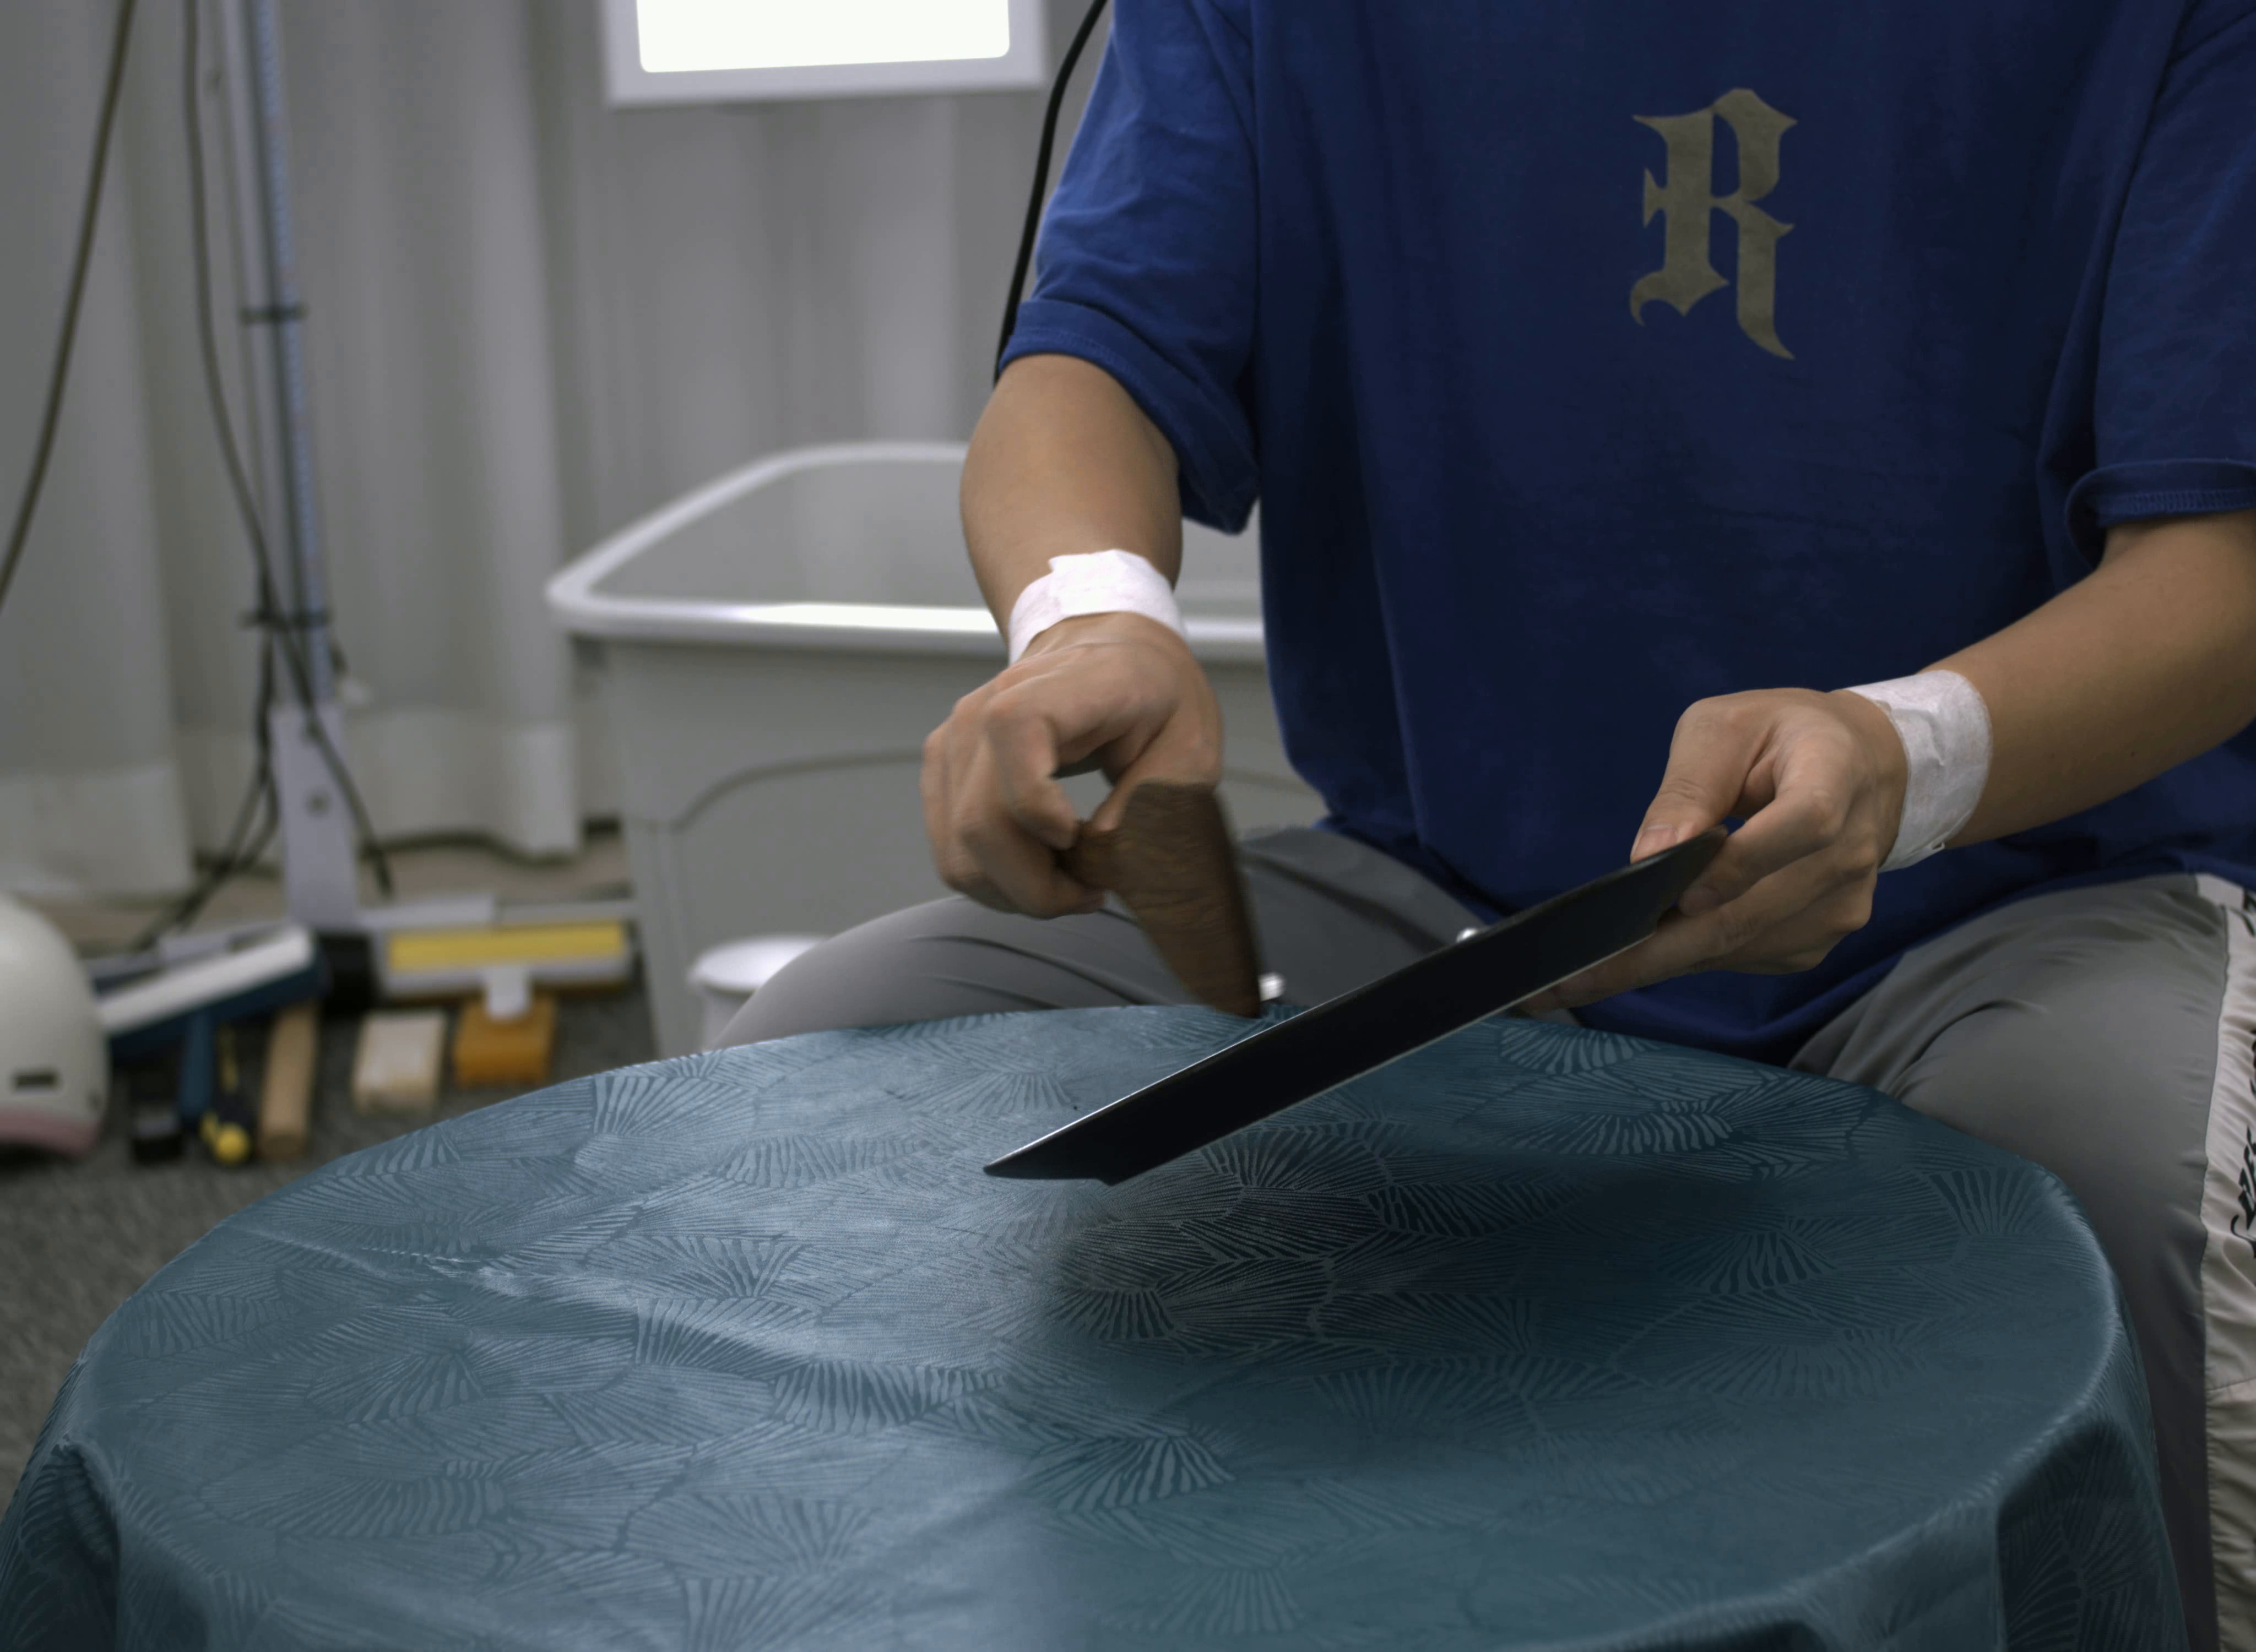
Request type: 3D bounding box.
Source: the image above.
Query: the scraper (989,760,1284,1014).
[{"bbox_3d":[-0.003,0.010,1.661,0.011,0.075,0.212,-18,12,-19],"label":"scraper"}]

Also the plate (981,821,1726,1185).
[{"bbox_3d":[0.071,0.059,1.622,0.244,0.023,0.244,-25,-2,-2],"label":"plate"}]
